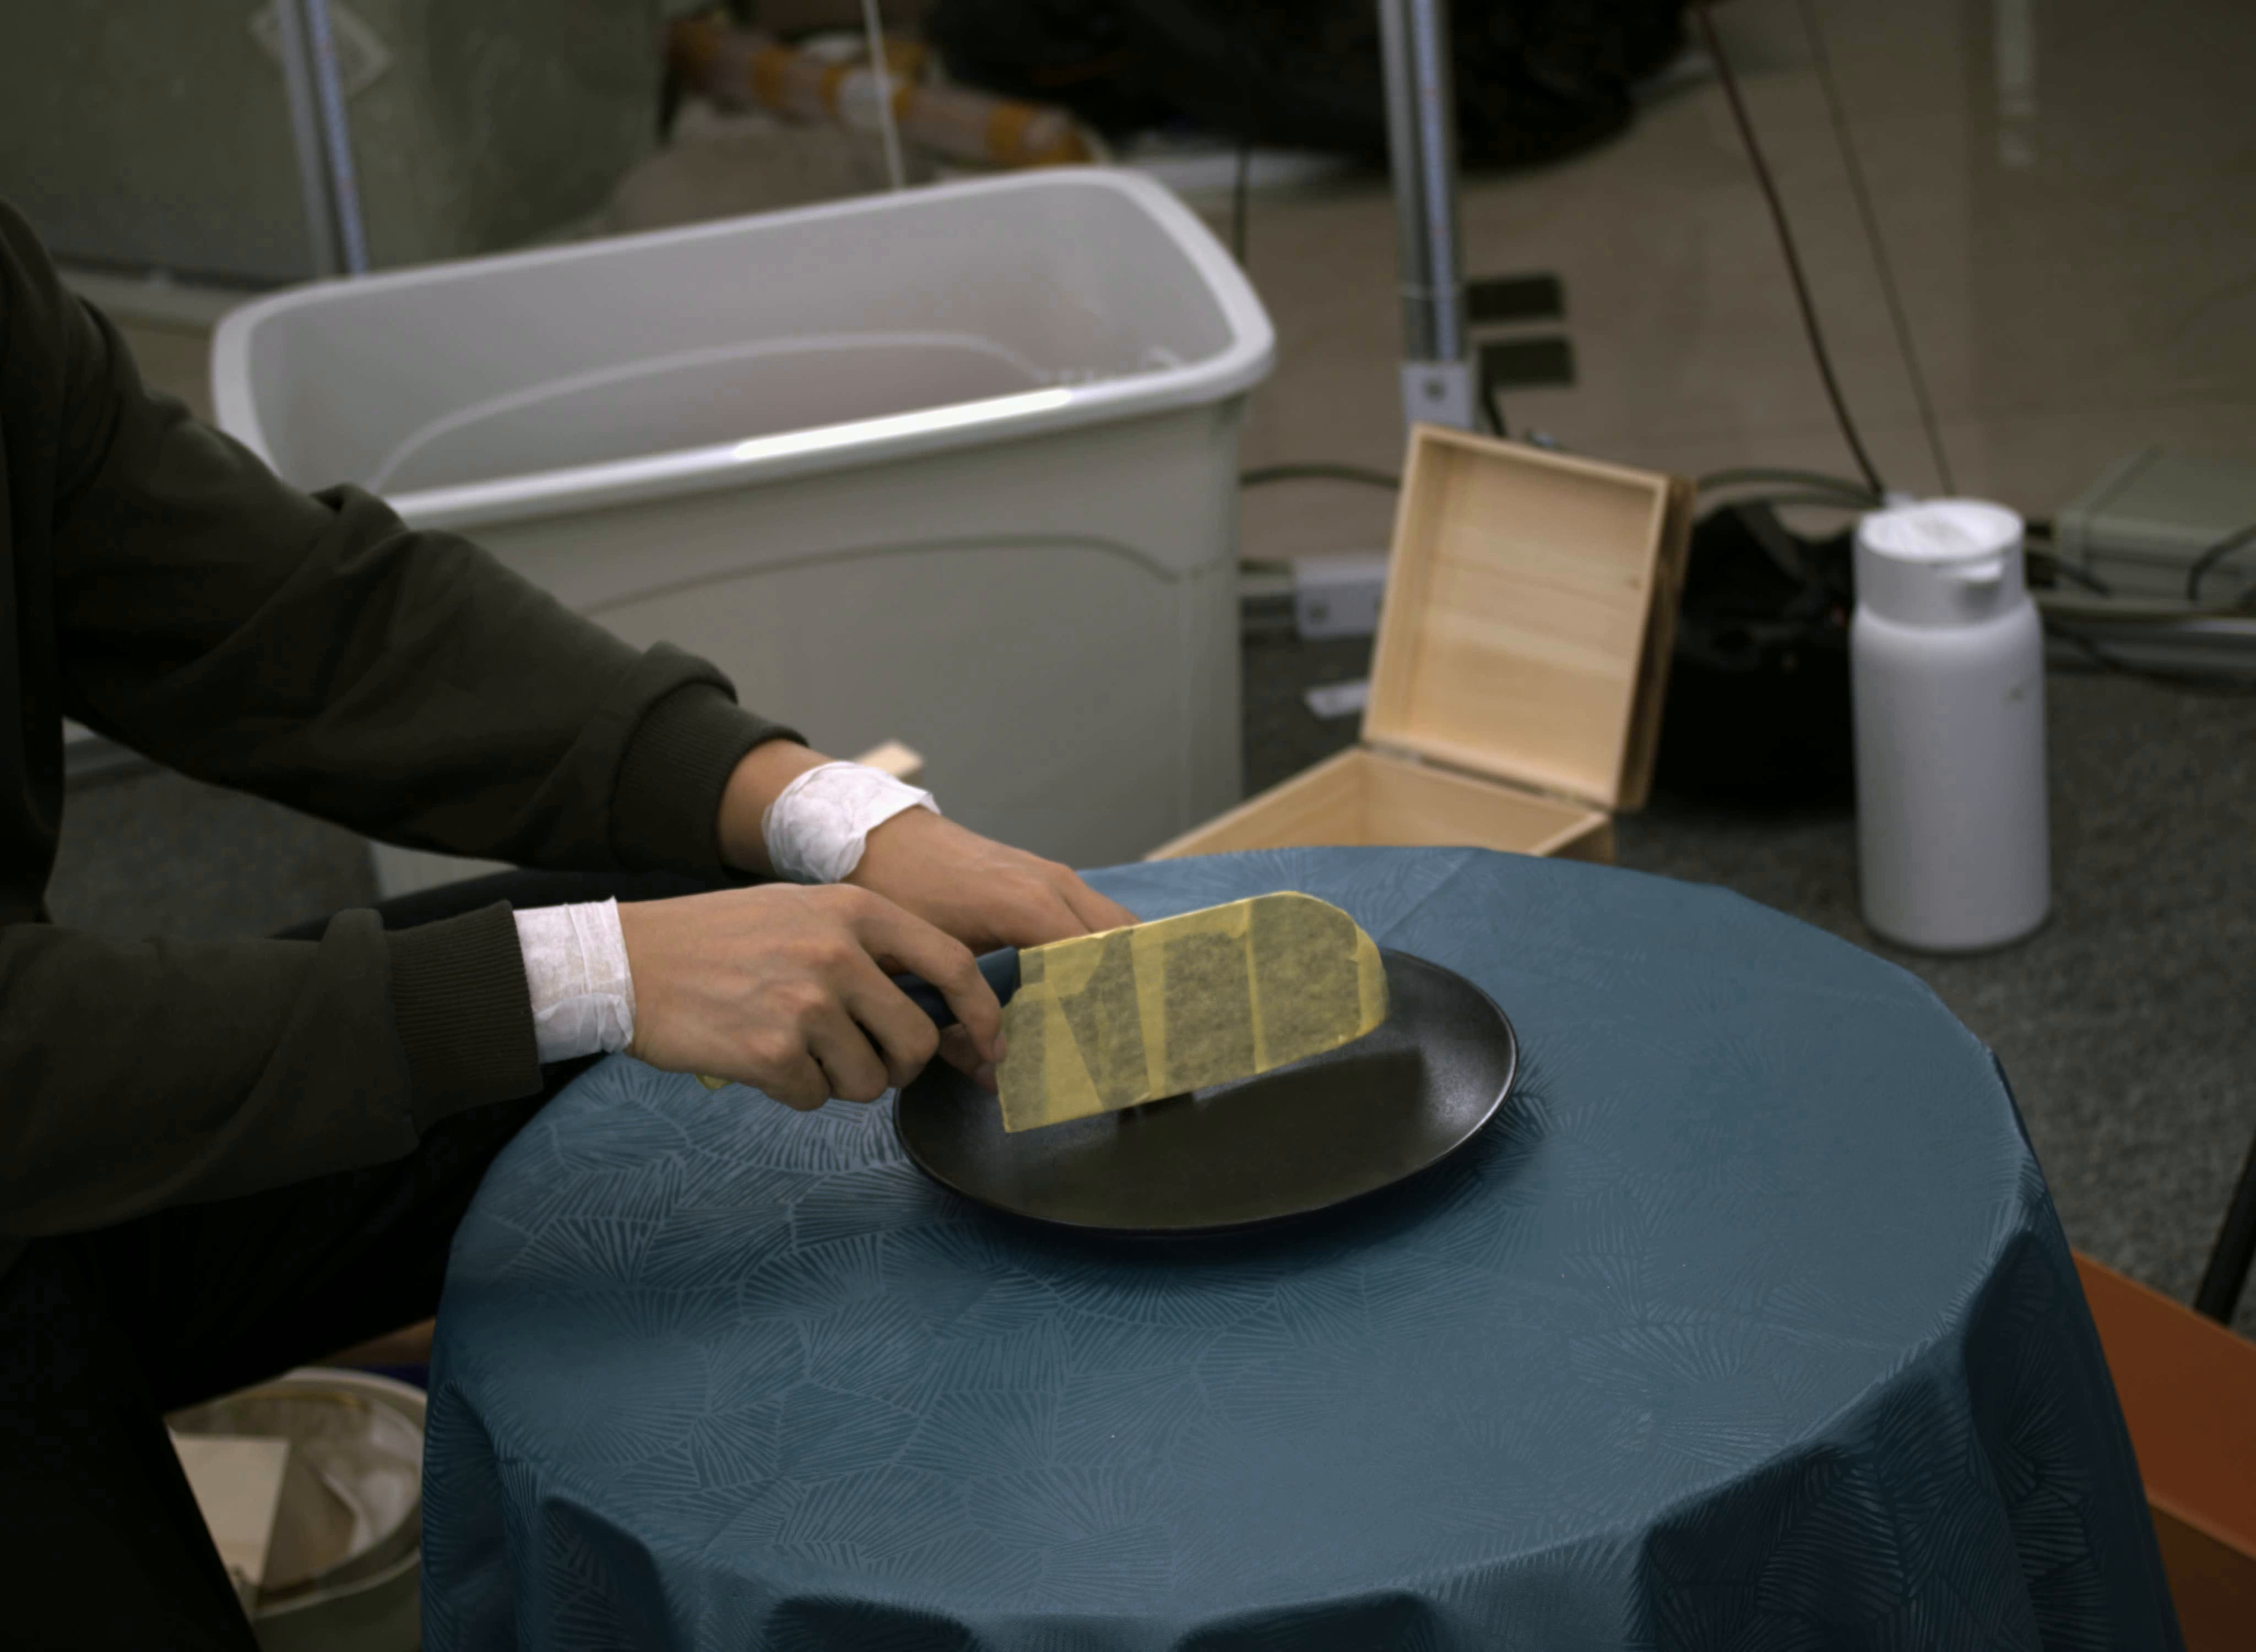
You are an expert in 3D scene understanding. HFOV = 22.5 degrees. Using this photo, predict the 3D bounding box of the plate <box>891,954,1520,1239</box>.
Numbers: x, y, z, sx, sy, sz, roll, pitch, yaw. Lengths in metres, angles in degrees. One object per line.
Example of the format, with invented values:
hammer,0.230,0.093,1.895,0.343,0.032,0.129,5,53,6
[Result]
plate,0.031,0.106,2.187,0.244,0.024,0.241,-5,25,3

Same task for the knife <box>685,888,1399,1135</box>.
knife,-0.029,0.078,2.169,0.289,0.082,0.027,-9,18,-18
